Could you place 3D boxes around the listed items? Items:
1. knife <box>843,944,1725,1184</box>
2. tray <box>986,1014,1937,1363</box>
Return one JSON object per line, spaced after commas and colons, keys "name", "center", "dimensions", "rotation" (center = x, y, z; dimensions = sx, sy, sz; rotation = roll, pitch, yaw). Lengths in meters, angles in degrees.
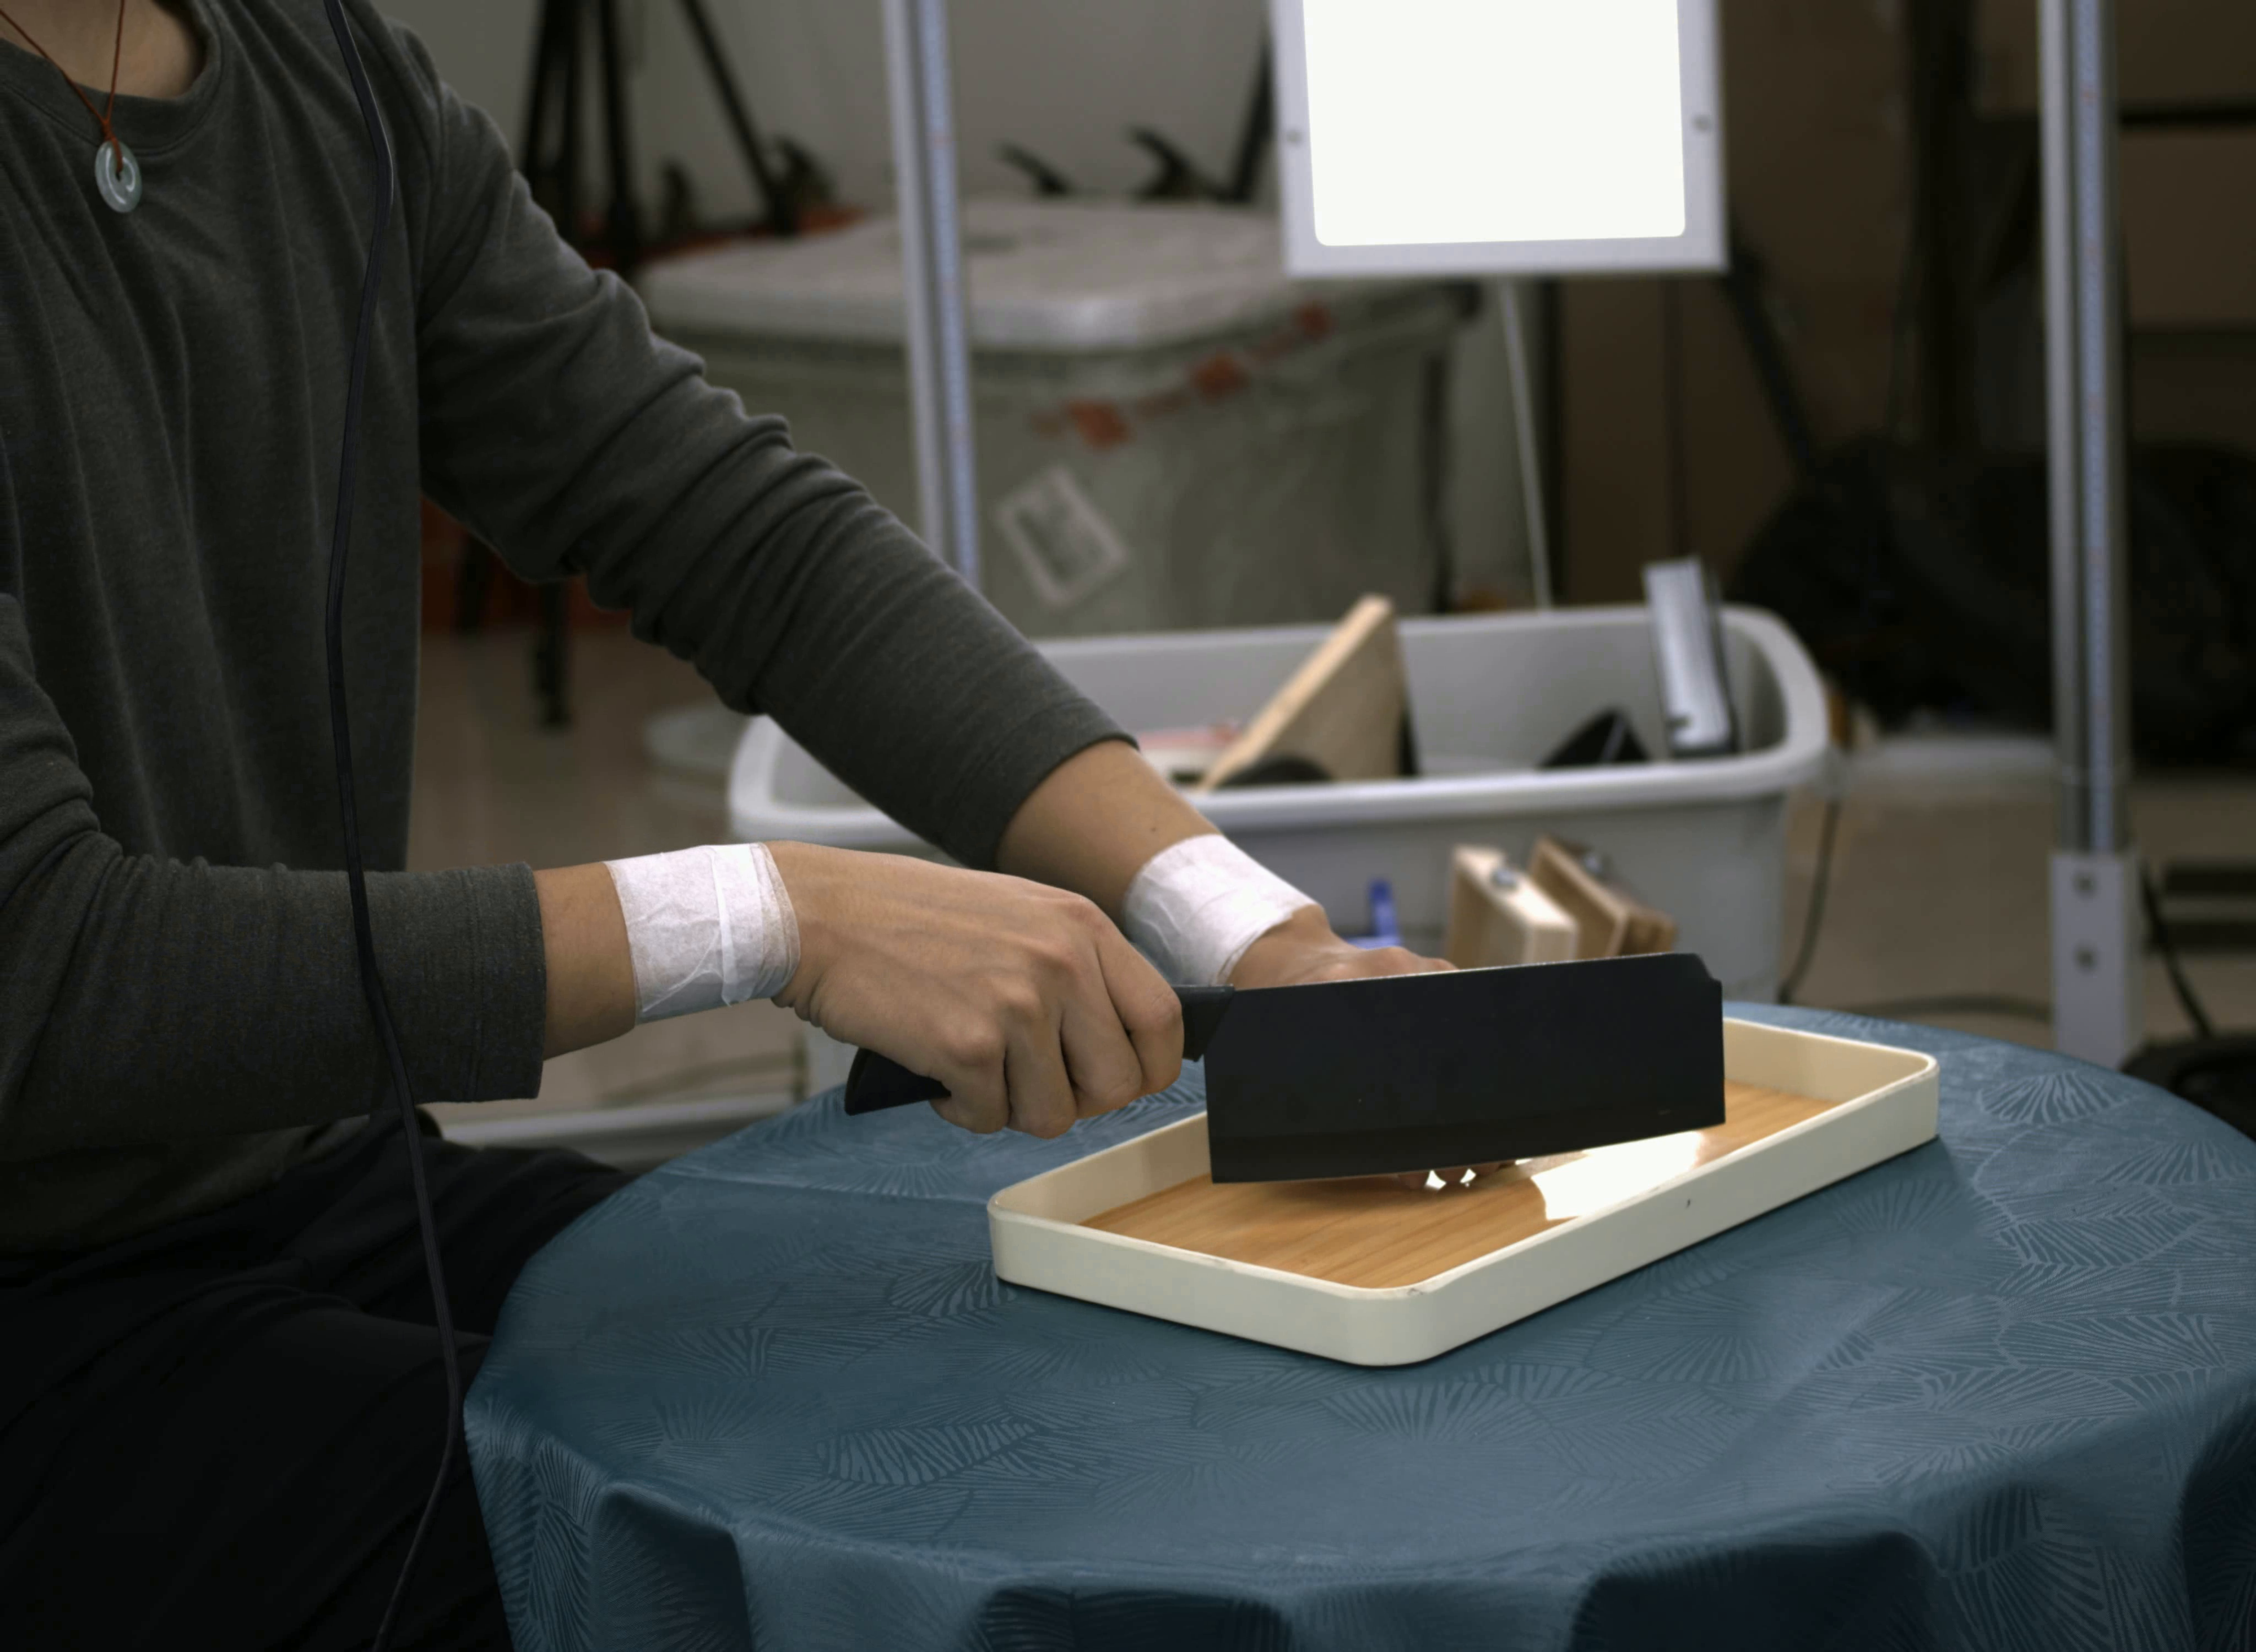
{"name": "knife", "center": [0.055, 0.079, 1.823], "dimensions": [0.299, 0.081, 0.021], "rotation": [0, 6, -10]}
{"name": "tray", "center": [0.117, 0.114, 1.854], "dimensions": [0.292, 0.027, 0.196], "rotation": [-17, 18, -42]}
